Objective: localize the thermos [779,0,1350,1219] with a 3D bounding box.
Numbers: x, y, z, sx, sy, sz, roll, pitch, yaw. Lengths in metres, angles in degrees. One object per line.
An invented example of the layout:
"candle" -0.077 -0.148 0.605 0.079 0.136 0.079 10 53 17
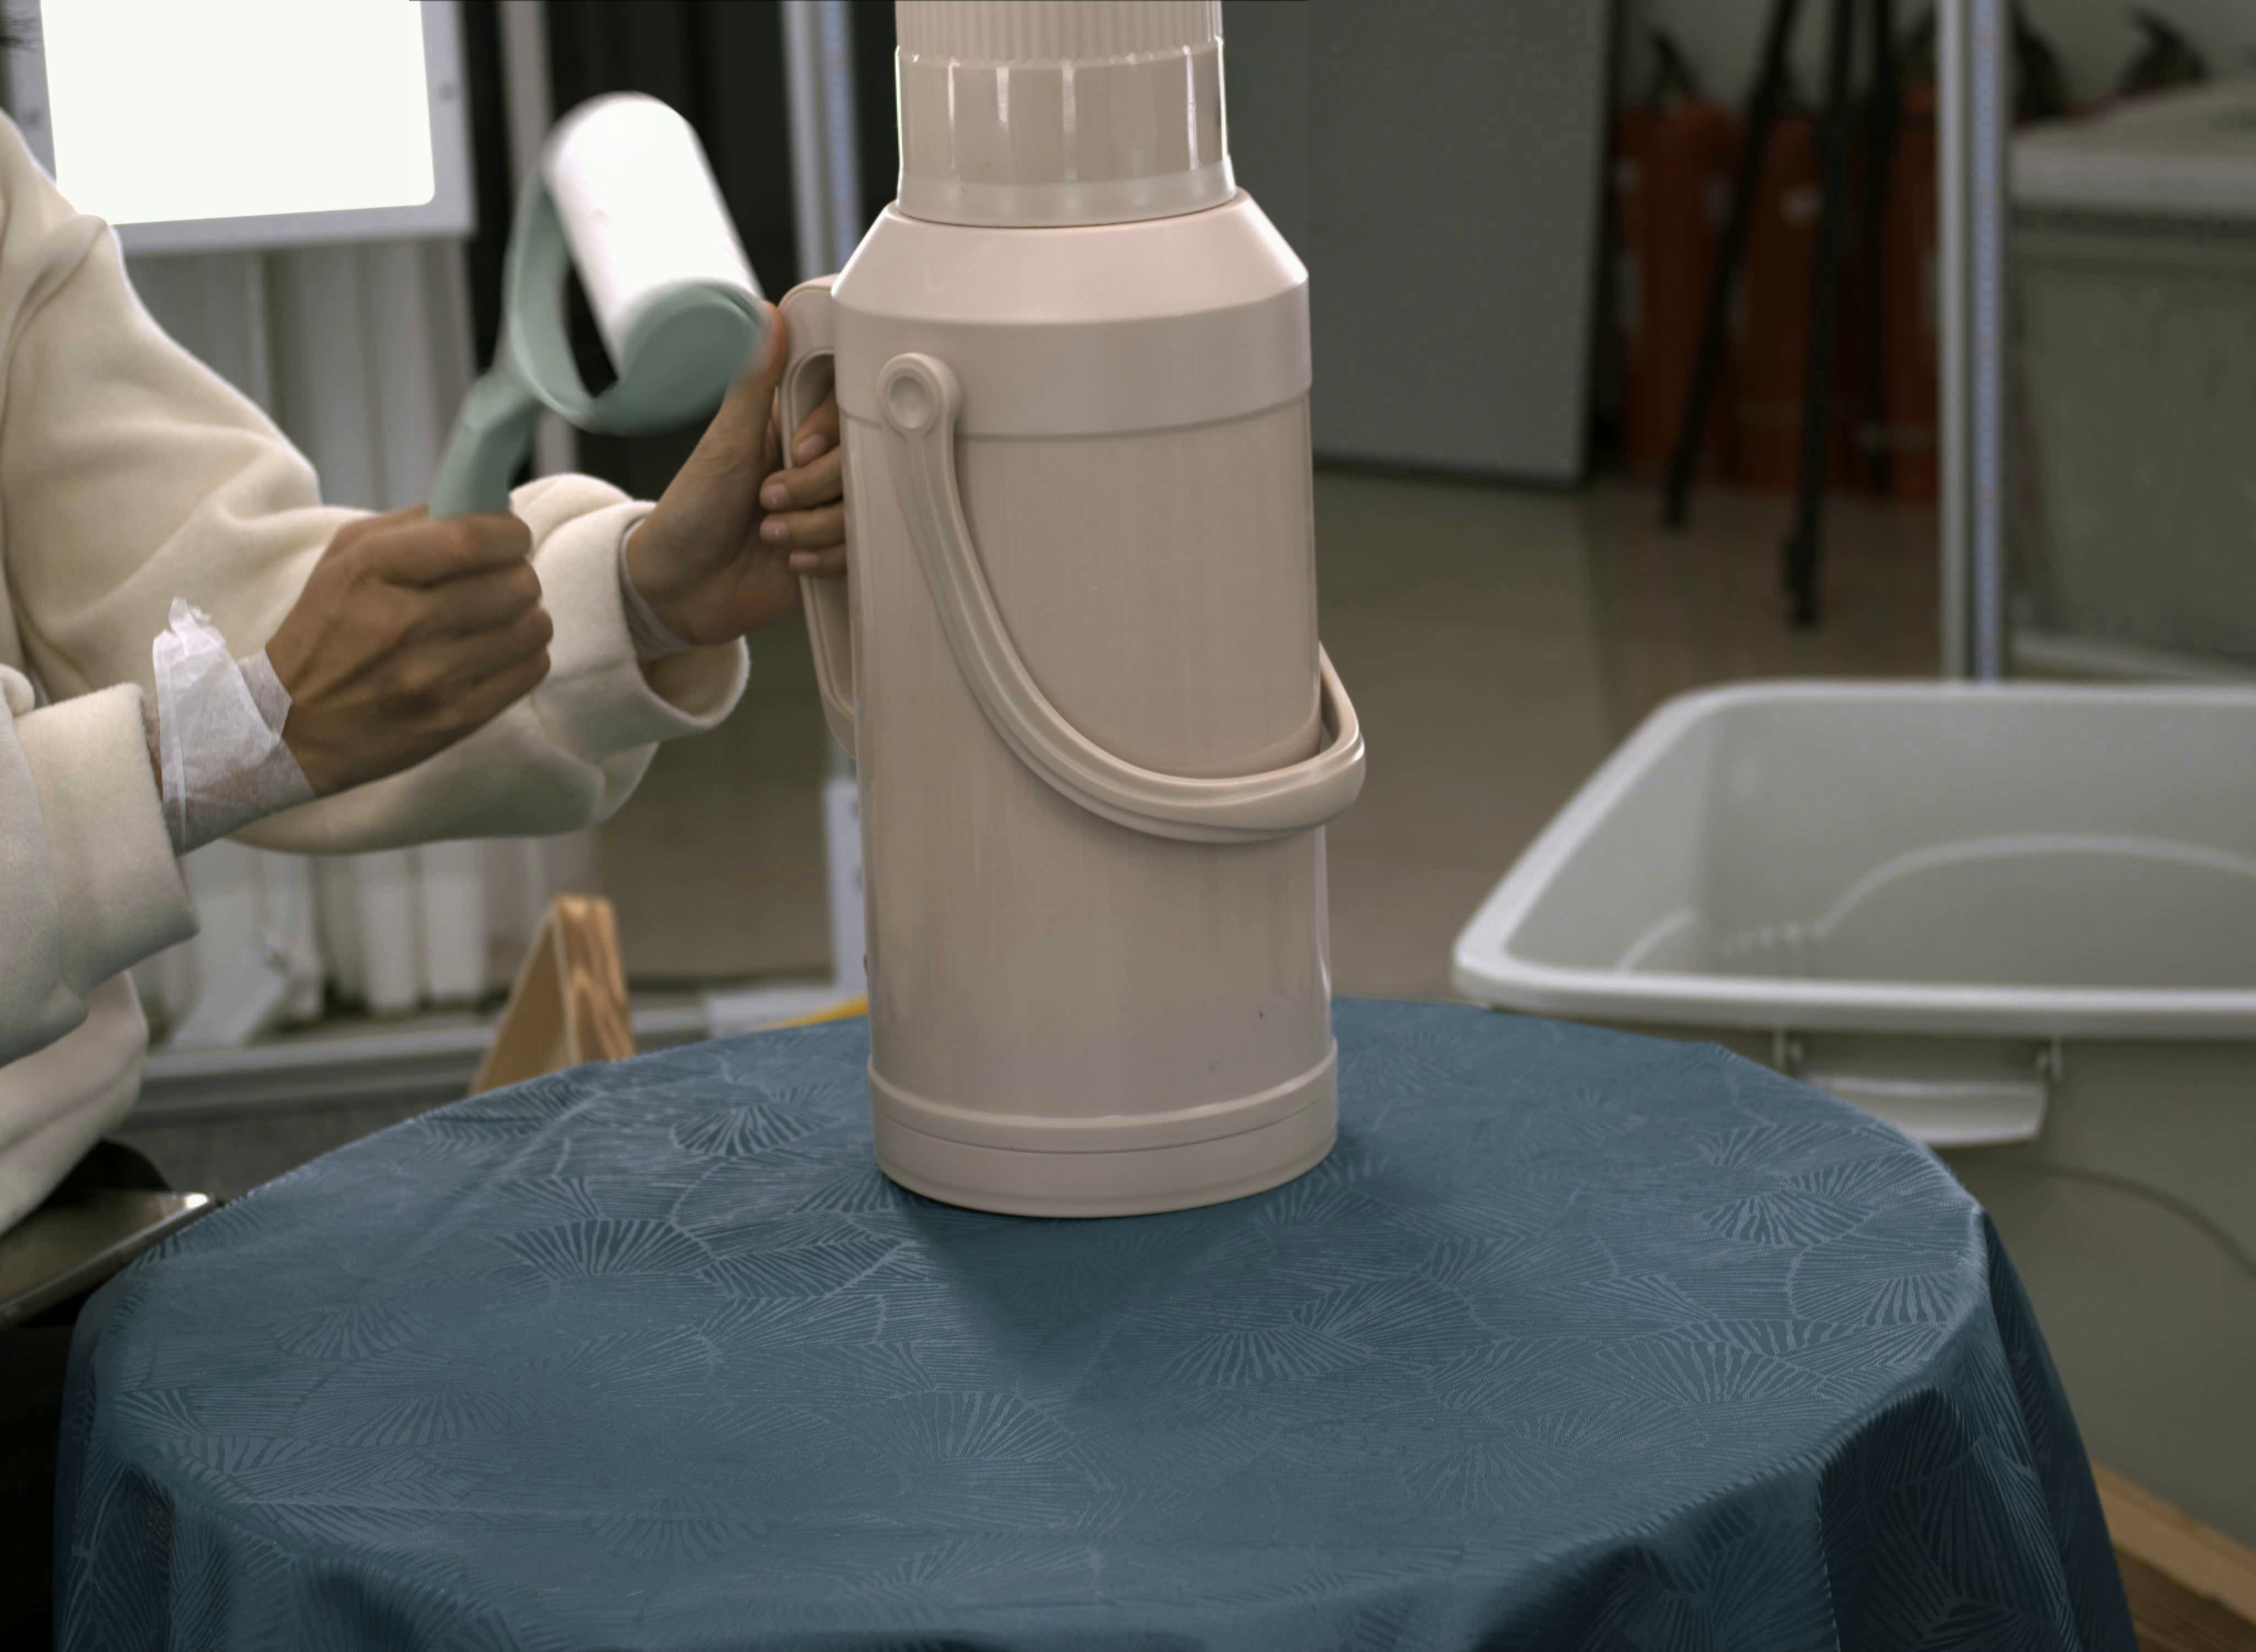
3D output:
"thermos" -0.026 -0.087 1.780 0.208 0.411 0.172 7 17 36

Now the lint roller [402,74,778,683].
"lint roller" -0.182 -0.127 1.669 0.047 0.199 0.118 20 30 -35
